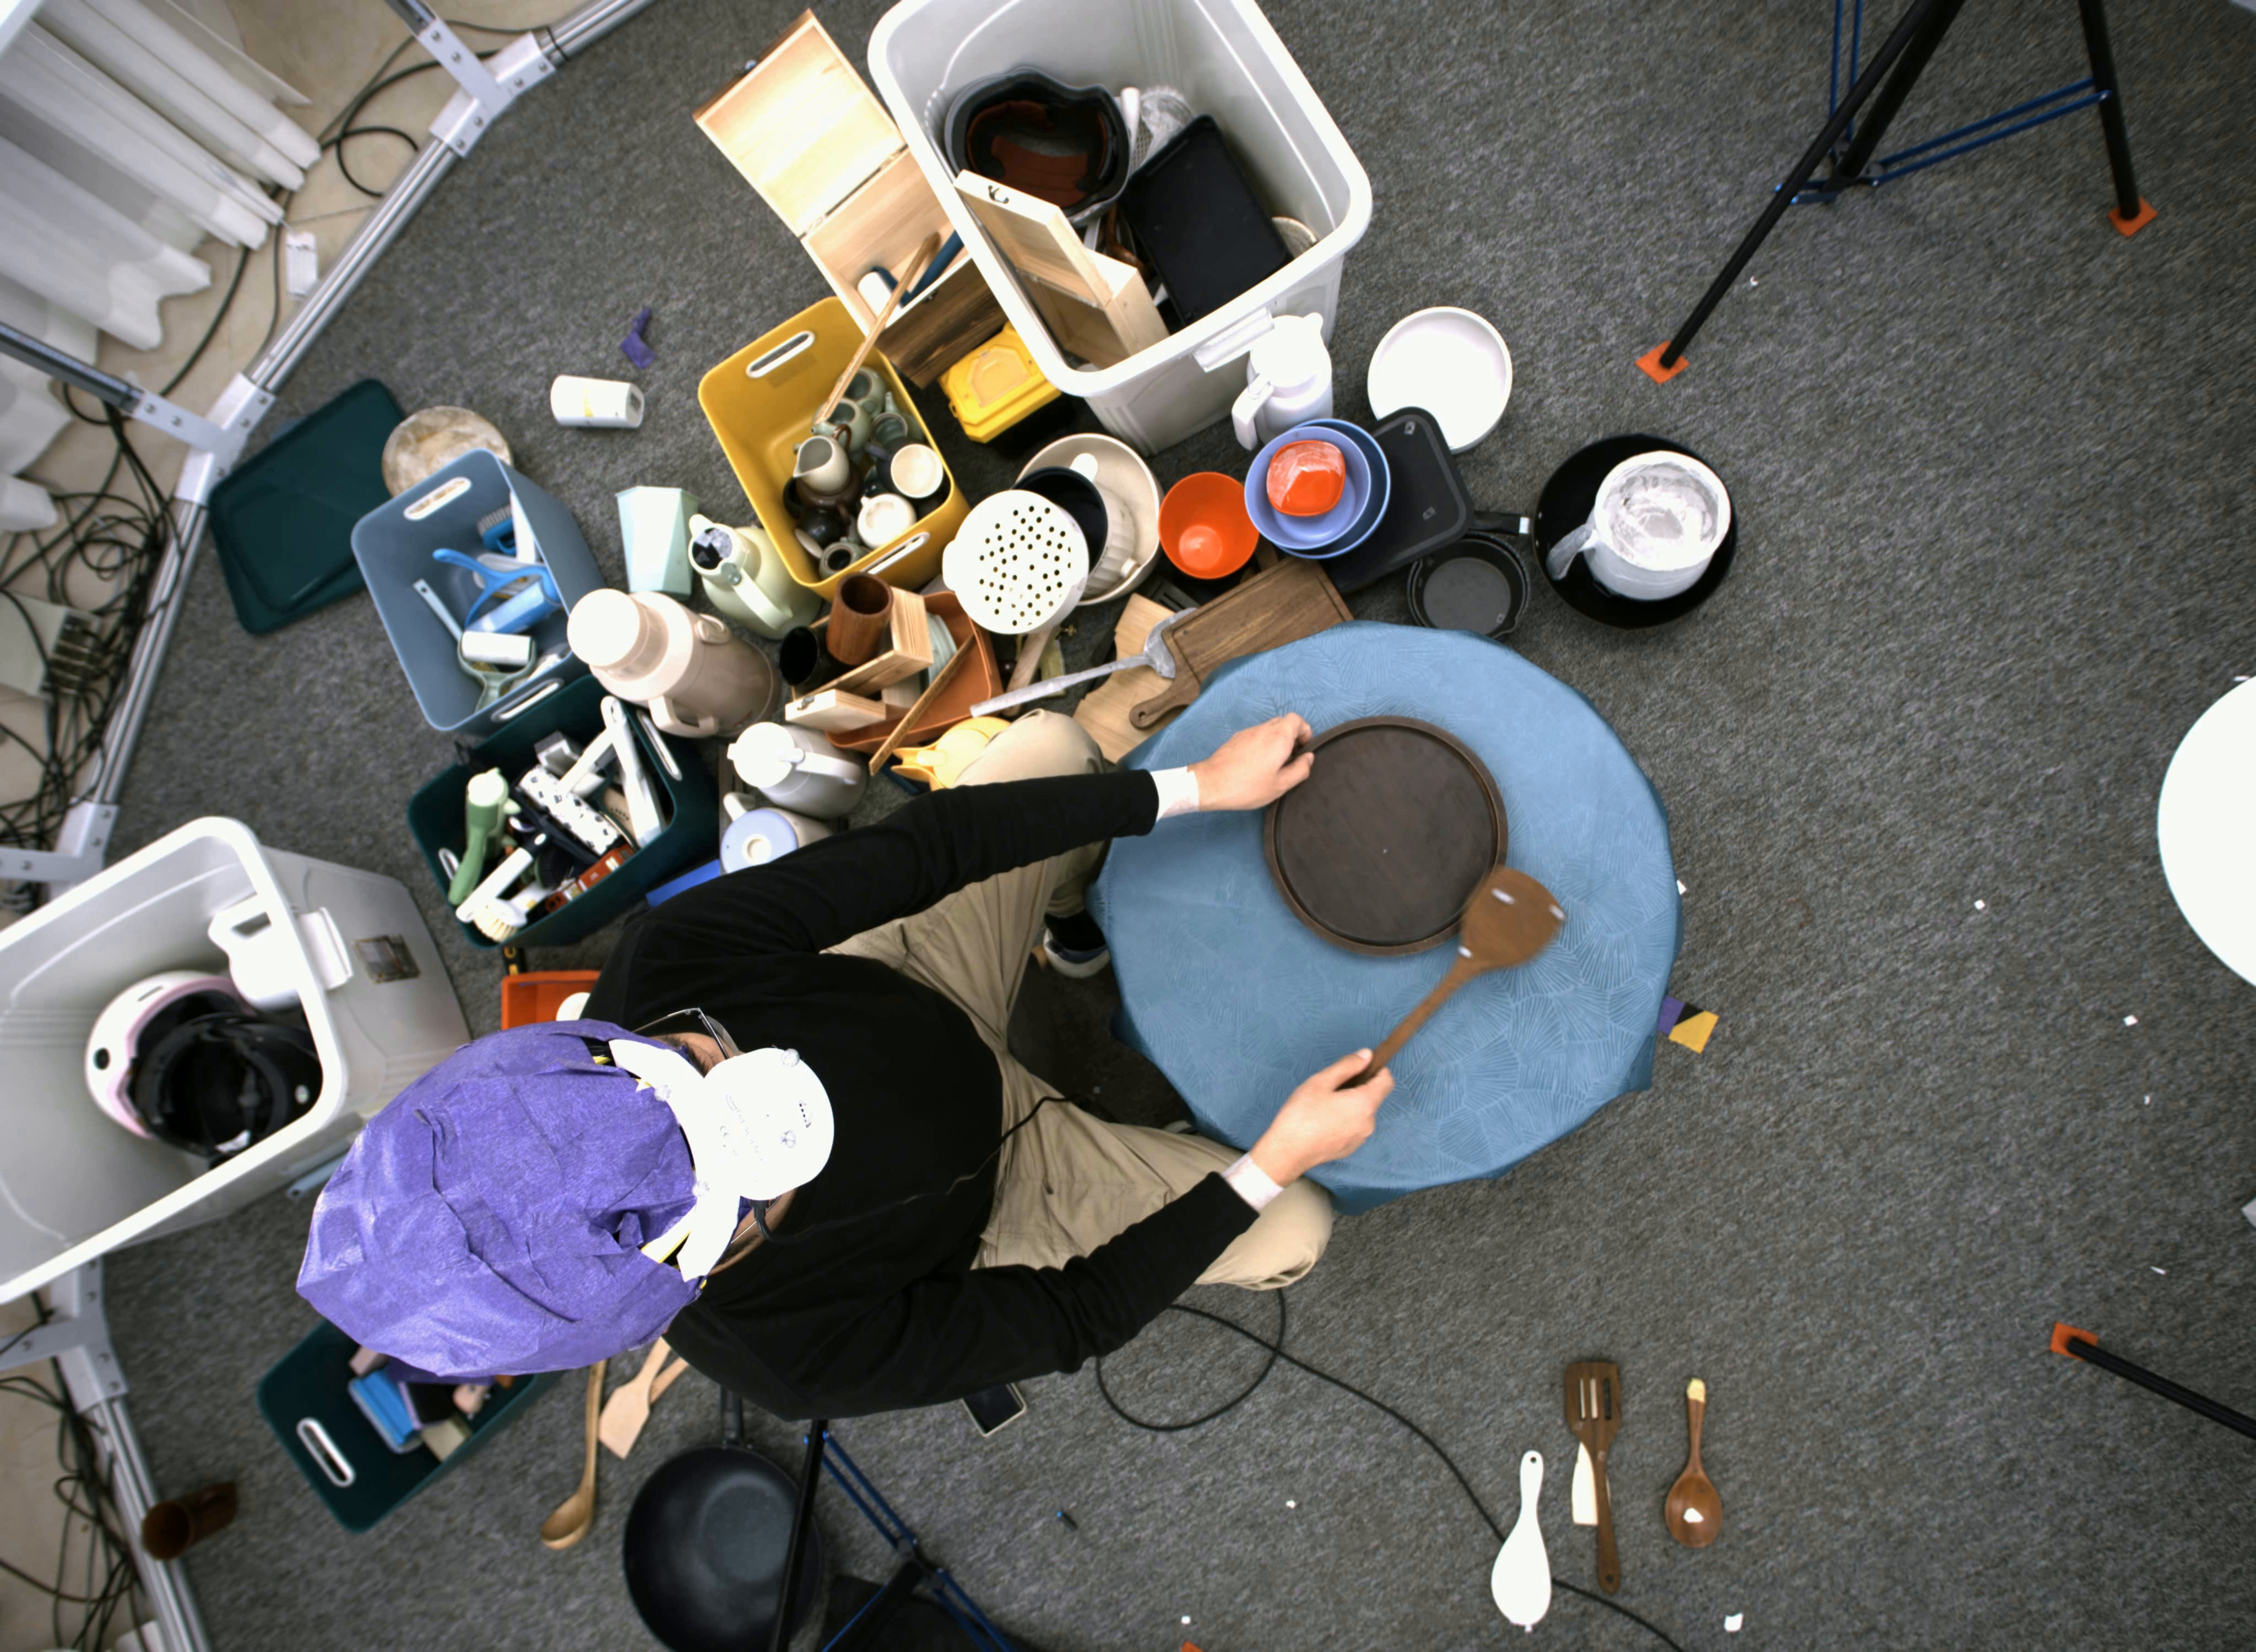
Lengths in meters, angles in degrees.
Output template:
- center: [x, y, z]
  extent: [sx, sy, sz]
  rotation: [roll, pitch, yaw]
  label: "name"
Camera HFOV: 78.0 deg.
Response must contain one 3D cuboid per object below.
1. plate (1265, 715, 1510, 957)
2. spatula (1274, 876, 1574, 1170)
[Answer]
- center: [0.270, 0.009, 1.445]
  extent: [0.255, 0.029, 0.254]
  rotation: [0, 91, 8]
  label: "plate"
- center: [0.284, 0.202, 1.374]
  extent: [0.387, 0.016, 0.095]
  rotation: [-45, 54, 4]
  label: "spatula"
